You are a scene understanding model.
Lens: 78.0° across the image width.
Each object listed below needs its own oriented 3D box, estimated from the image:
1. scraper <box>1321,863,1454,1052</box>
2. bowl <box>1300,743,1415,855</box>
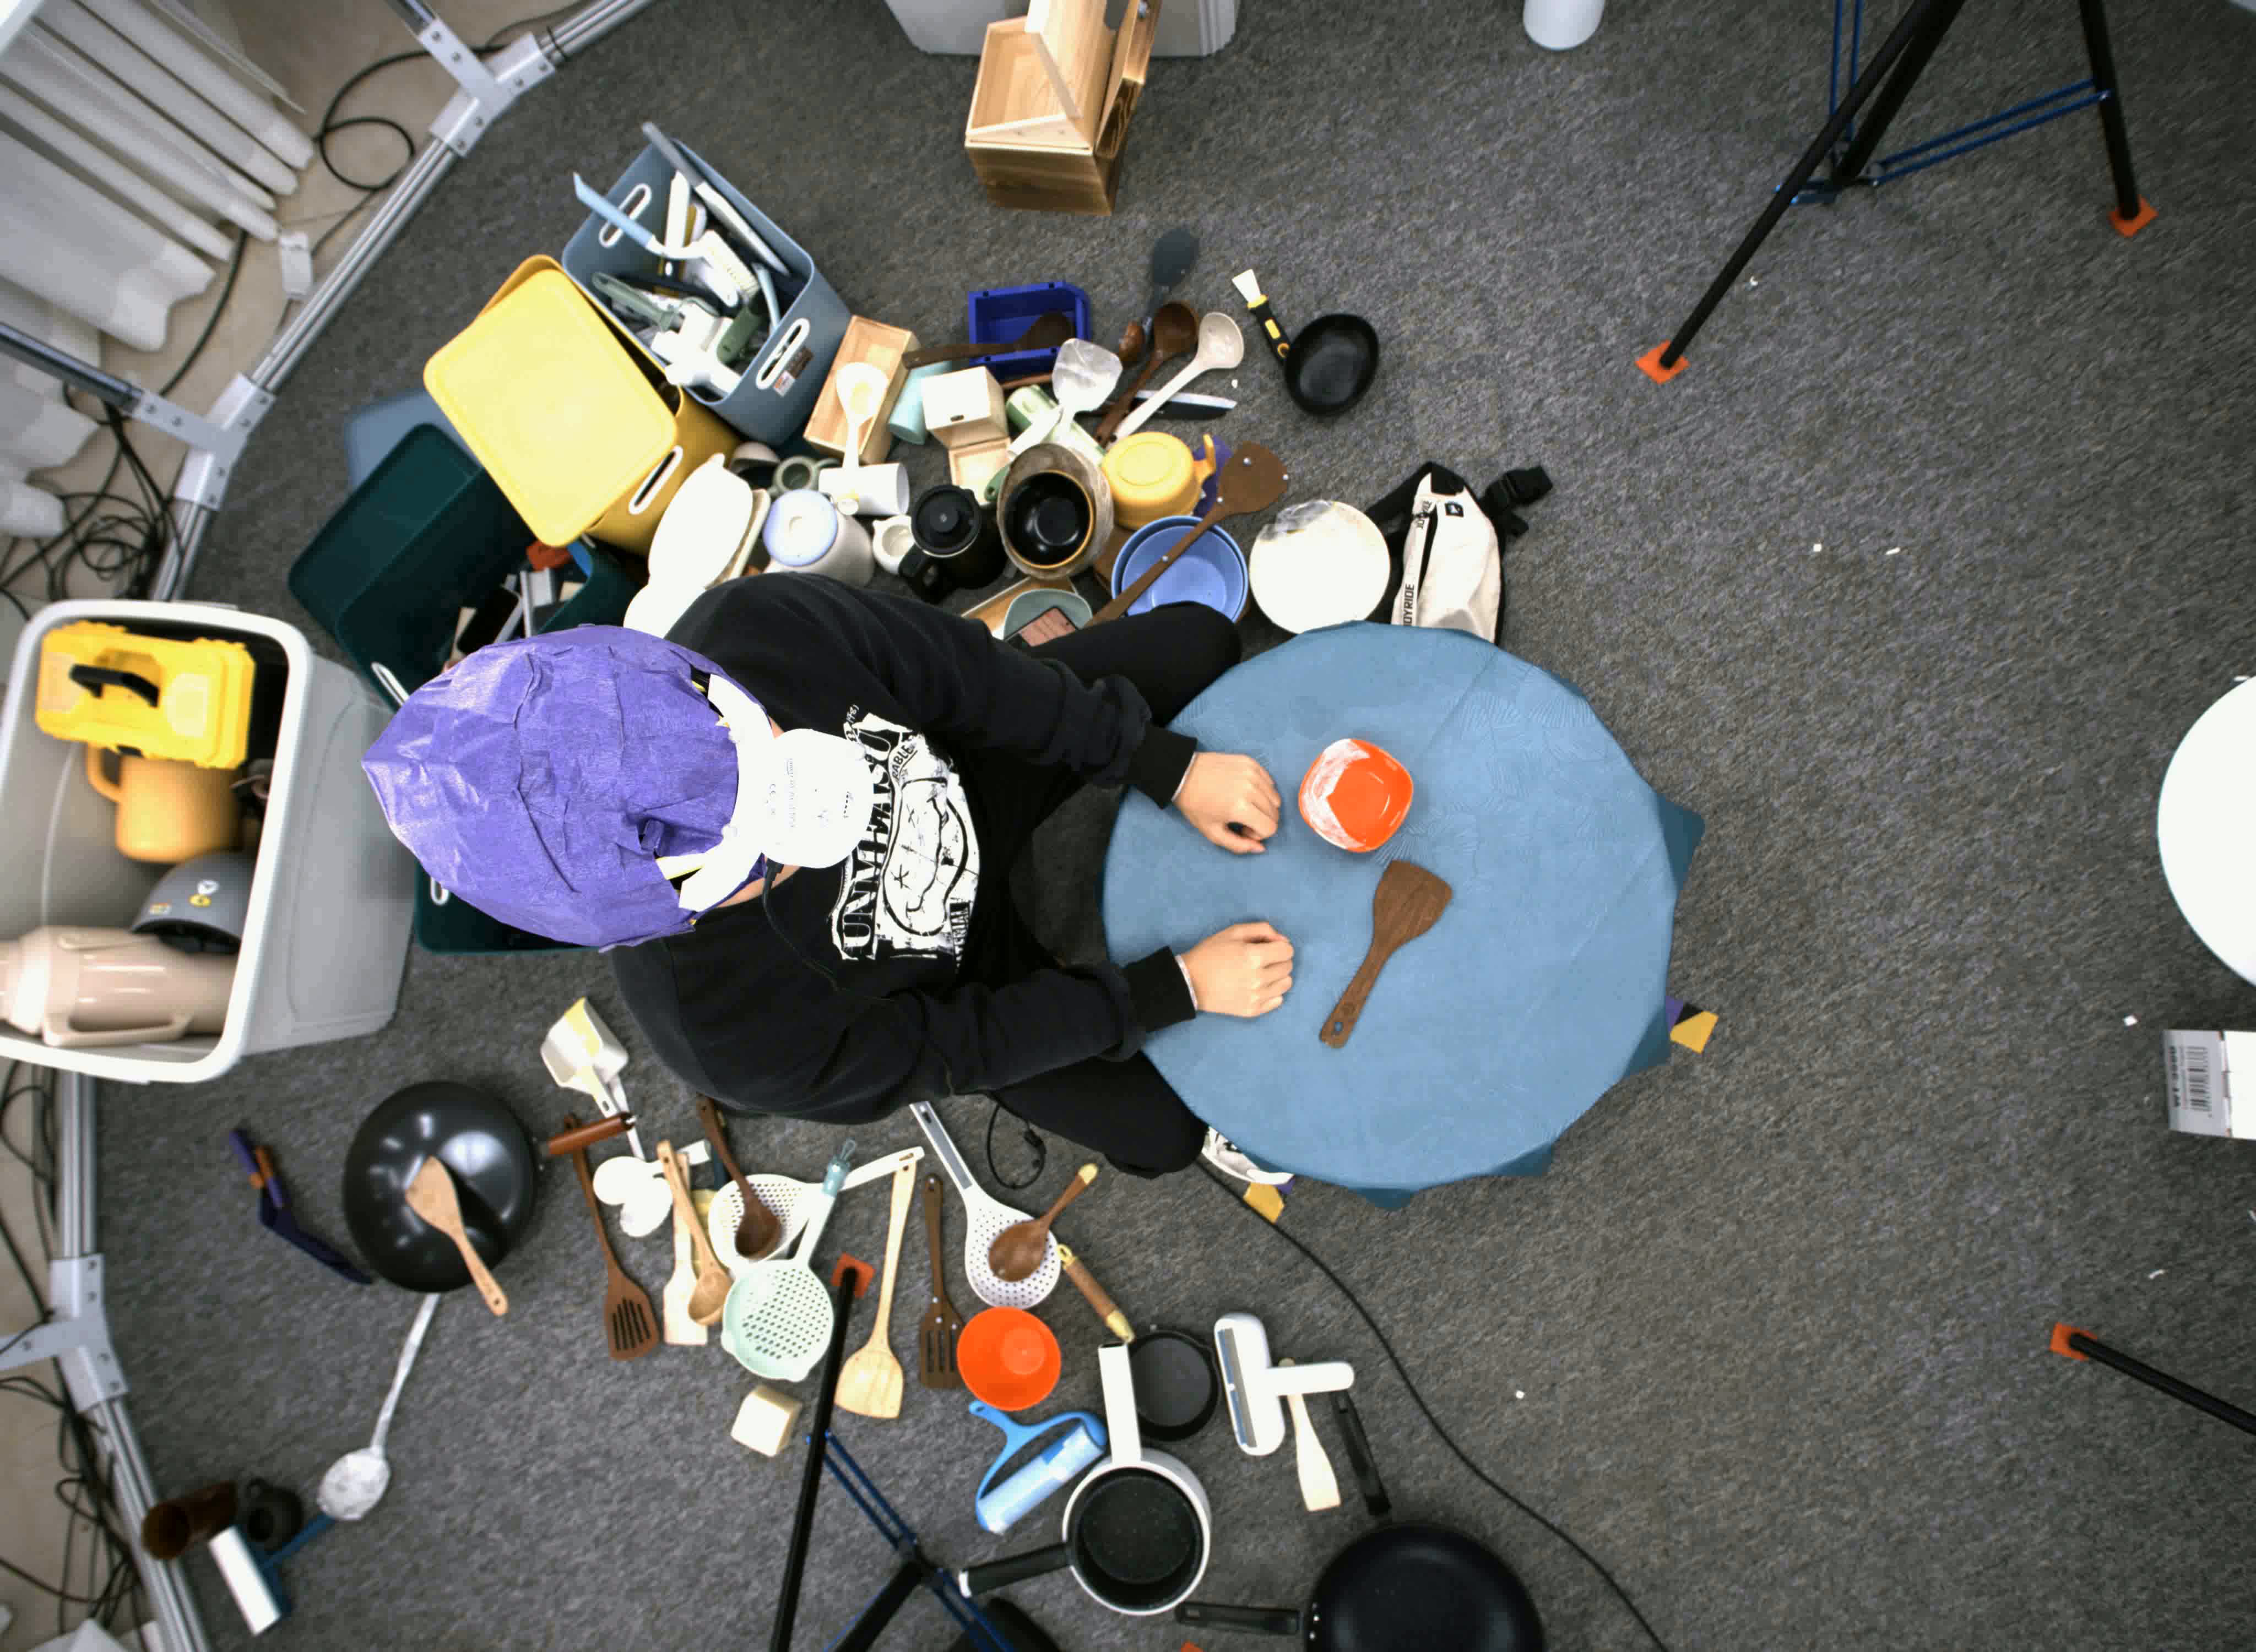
[{"bbox_3d":[0.264,0.141,1.457,0.075,0.011,0.211,30,92,12],"label":"scraper"},{"bbox_3d":[0.241,-0.027,1.453,0.119,0.051,0.118,-1,87,10],"label":"bowl"}]
